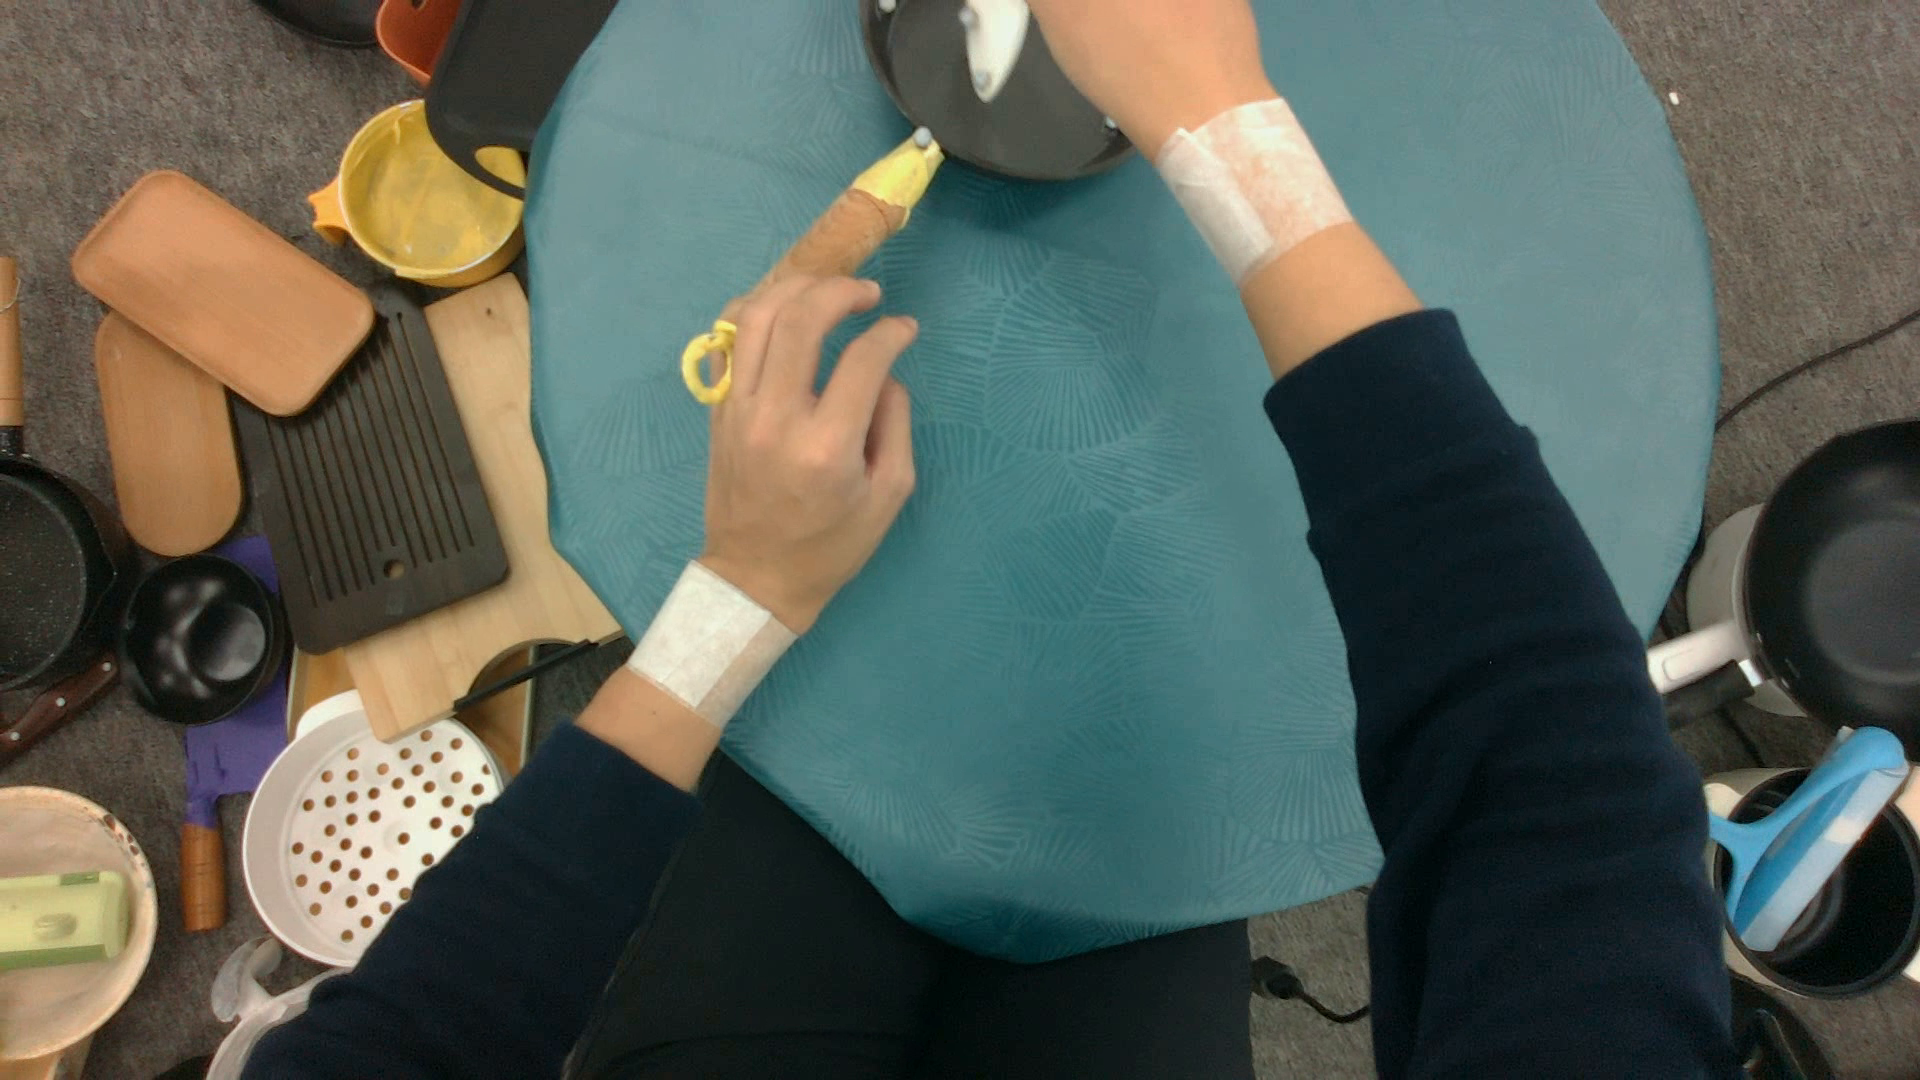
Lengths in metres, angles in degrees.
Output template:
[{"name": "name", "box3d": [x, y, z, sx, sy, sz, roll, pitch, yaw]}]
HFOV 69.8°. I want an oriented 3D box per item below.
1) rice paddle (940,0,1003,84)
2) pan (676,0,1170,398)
[{"name": "rice paddle", "box3d": [0.015, -0.245, 0.574, 0.029, 0.205, 0.069, -8, 93, -15]}, {"name": "pan", "box3d": [-0.024, -0.179, 0.628, 0.169, 0.049, 0.325, 38, 67, 0]}]
